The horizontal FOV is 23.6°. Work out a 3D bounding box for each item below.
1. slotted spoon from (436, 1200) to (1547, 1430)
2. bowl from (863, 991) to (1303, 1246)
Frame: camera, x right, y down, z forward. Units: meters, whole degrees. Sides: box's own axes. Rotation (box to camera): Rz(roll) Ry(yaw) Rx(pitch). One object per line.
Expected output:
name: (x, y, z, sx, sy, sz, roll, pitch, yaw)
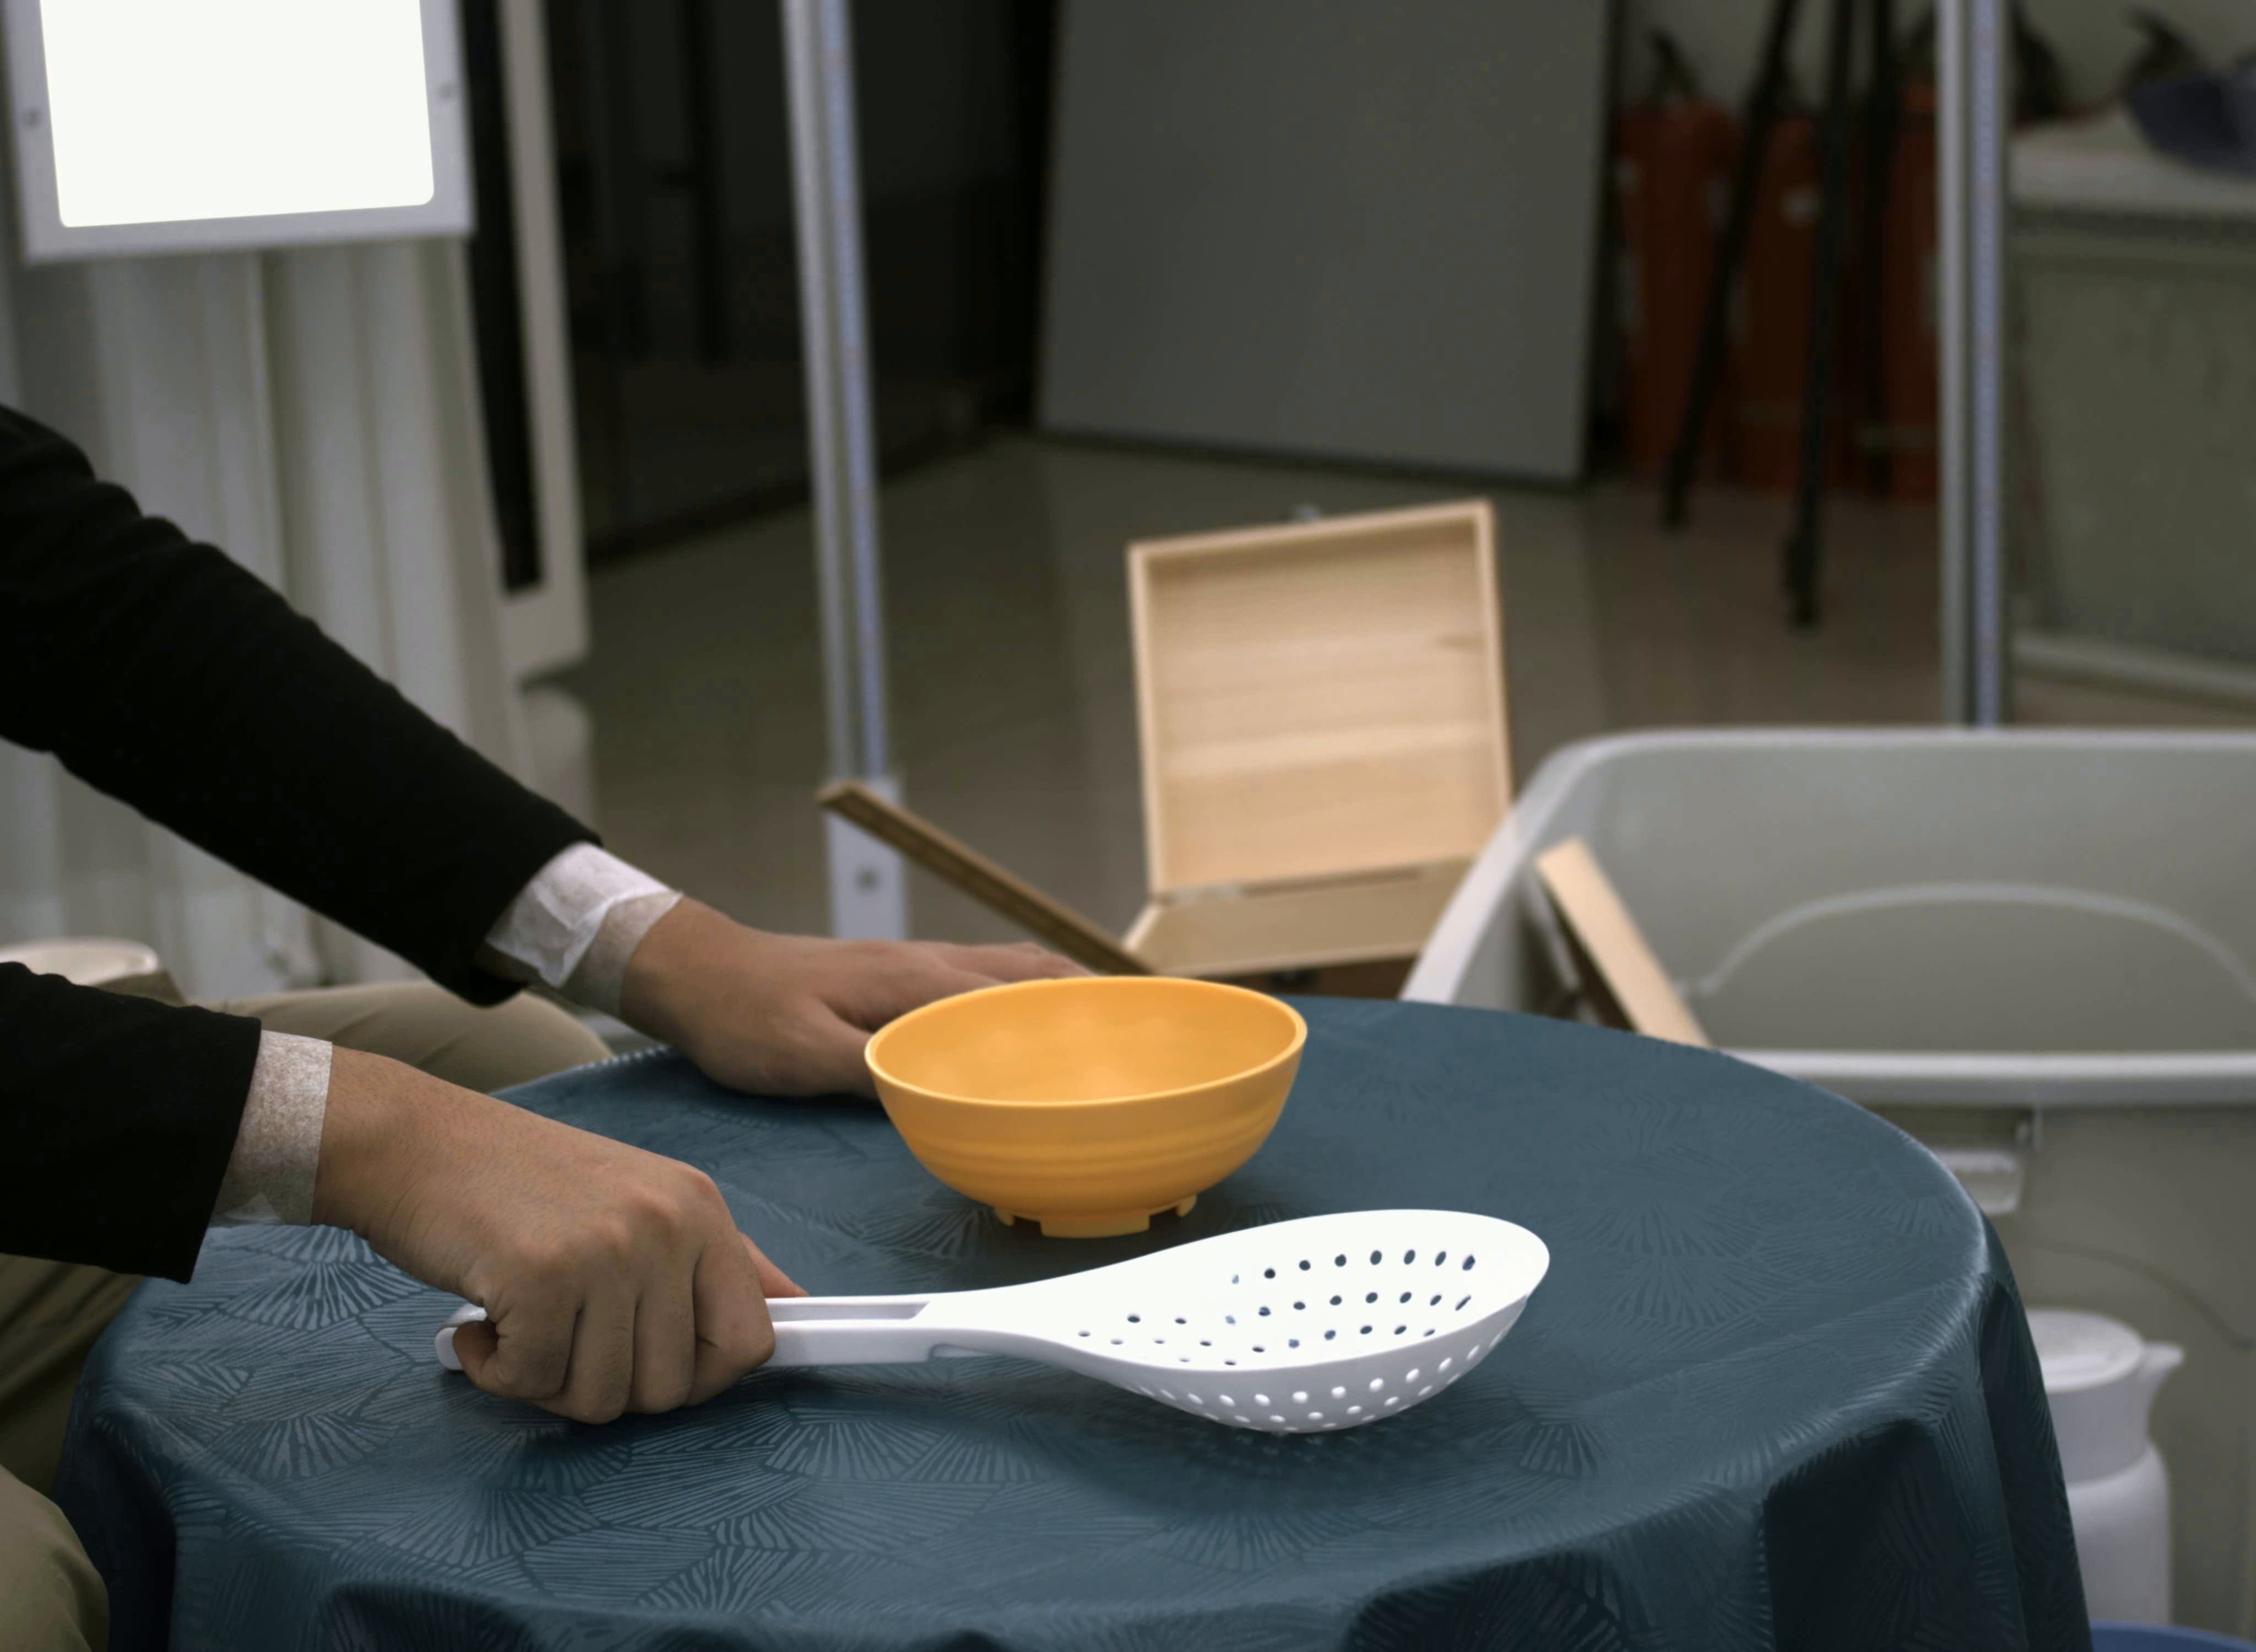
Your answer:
slotted spoon: (-0.045, 0.146, 1.584, 0.349, 0.046, 0.135, 0, 16, 20)
bowl: (-0.013, 0.098, 1.749, 0.143, 0.061, 0.145, -3, 12, 0)
